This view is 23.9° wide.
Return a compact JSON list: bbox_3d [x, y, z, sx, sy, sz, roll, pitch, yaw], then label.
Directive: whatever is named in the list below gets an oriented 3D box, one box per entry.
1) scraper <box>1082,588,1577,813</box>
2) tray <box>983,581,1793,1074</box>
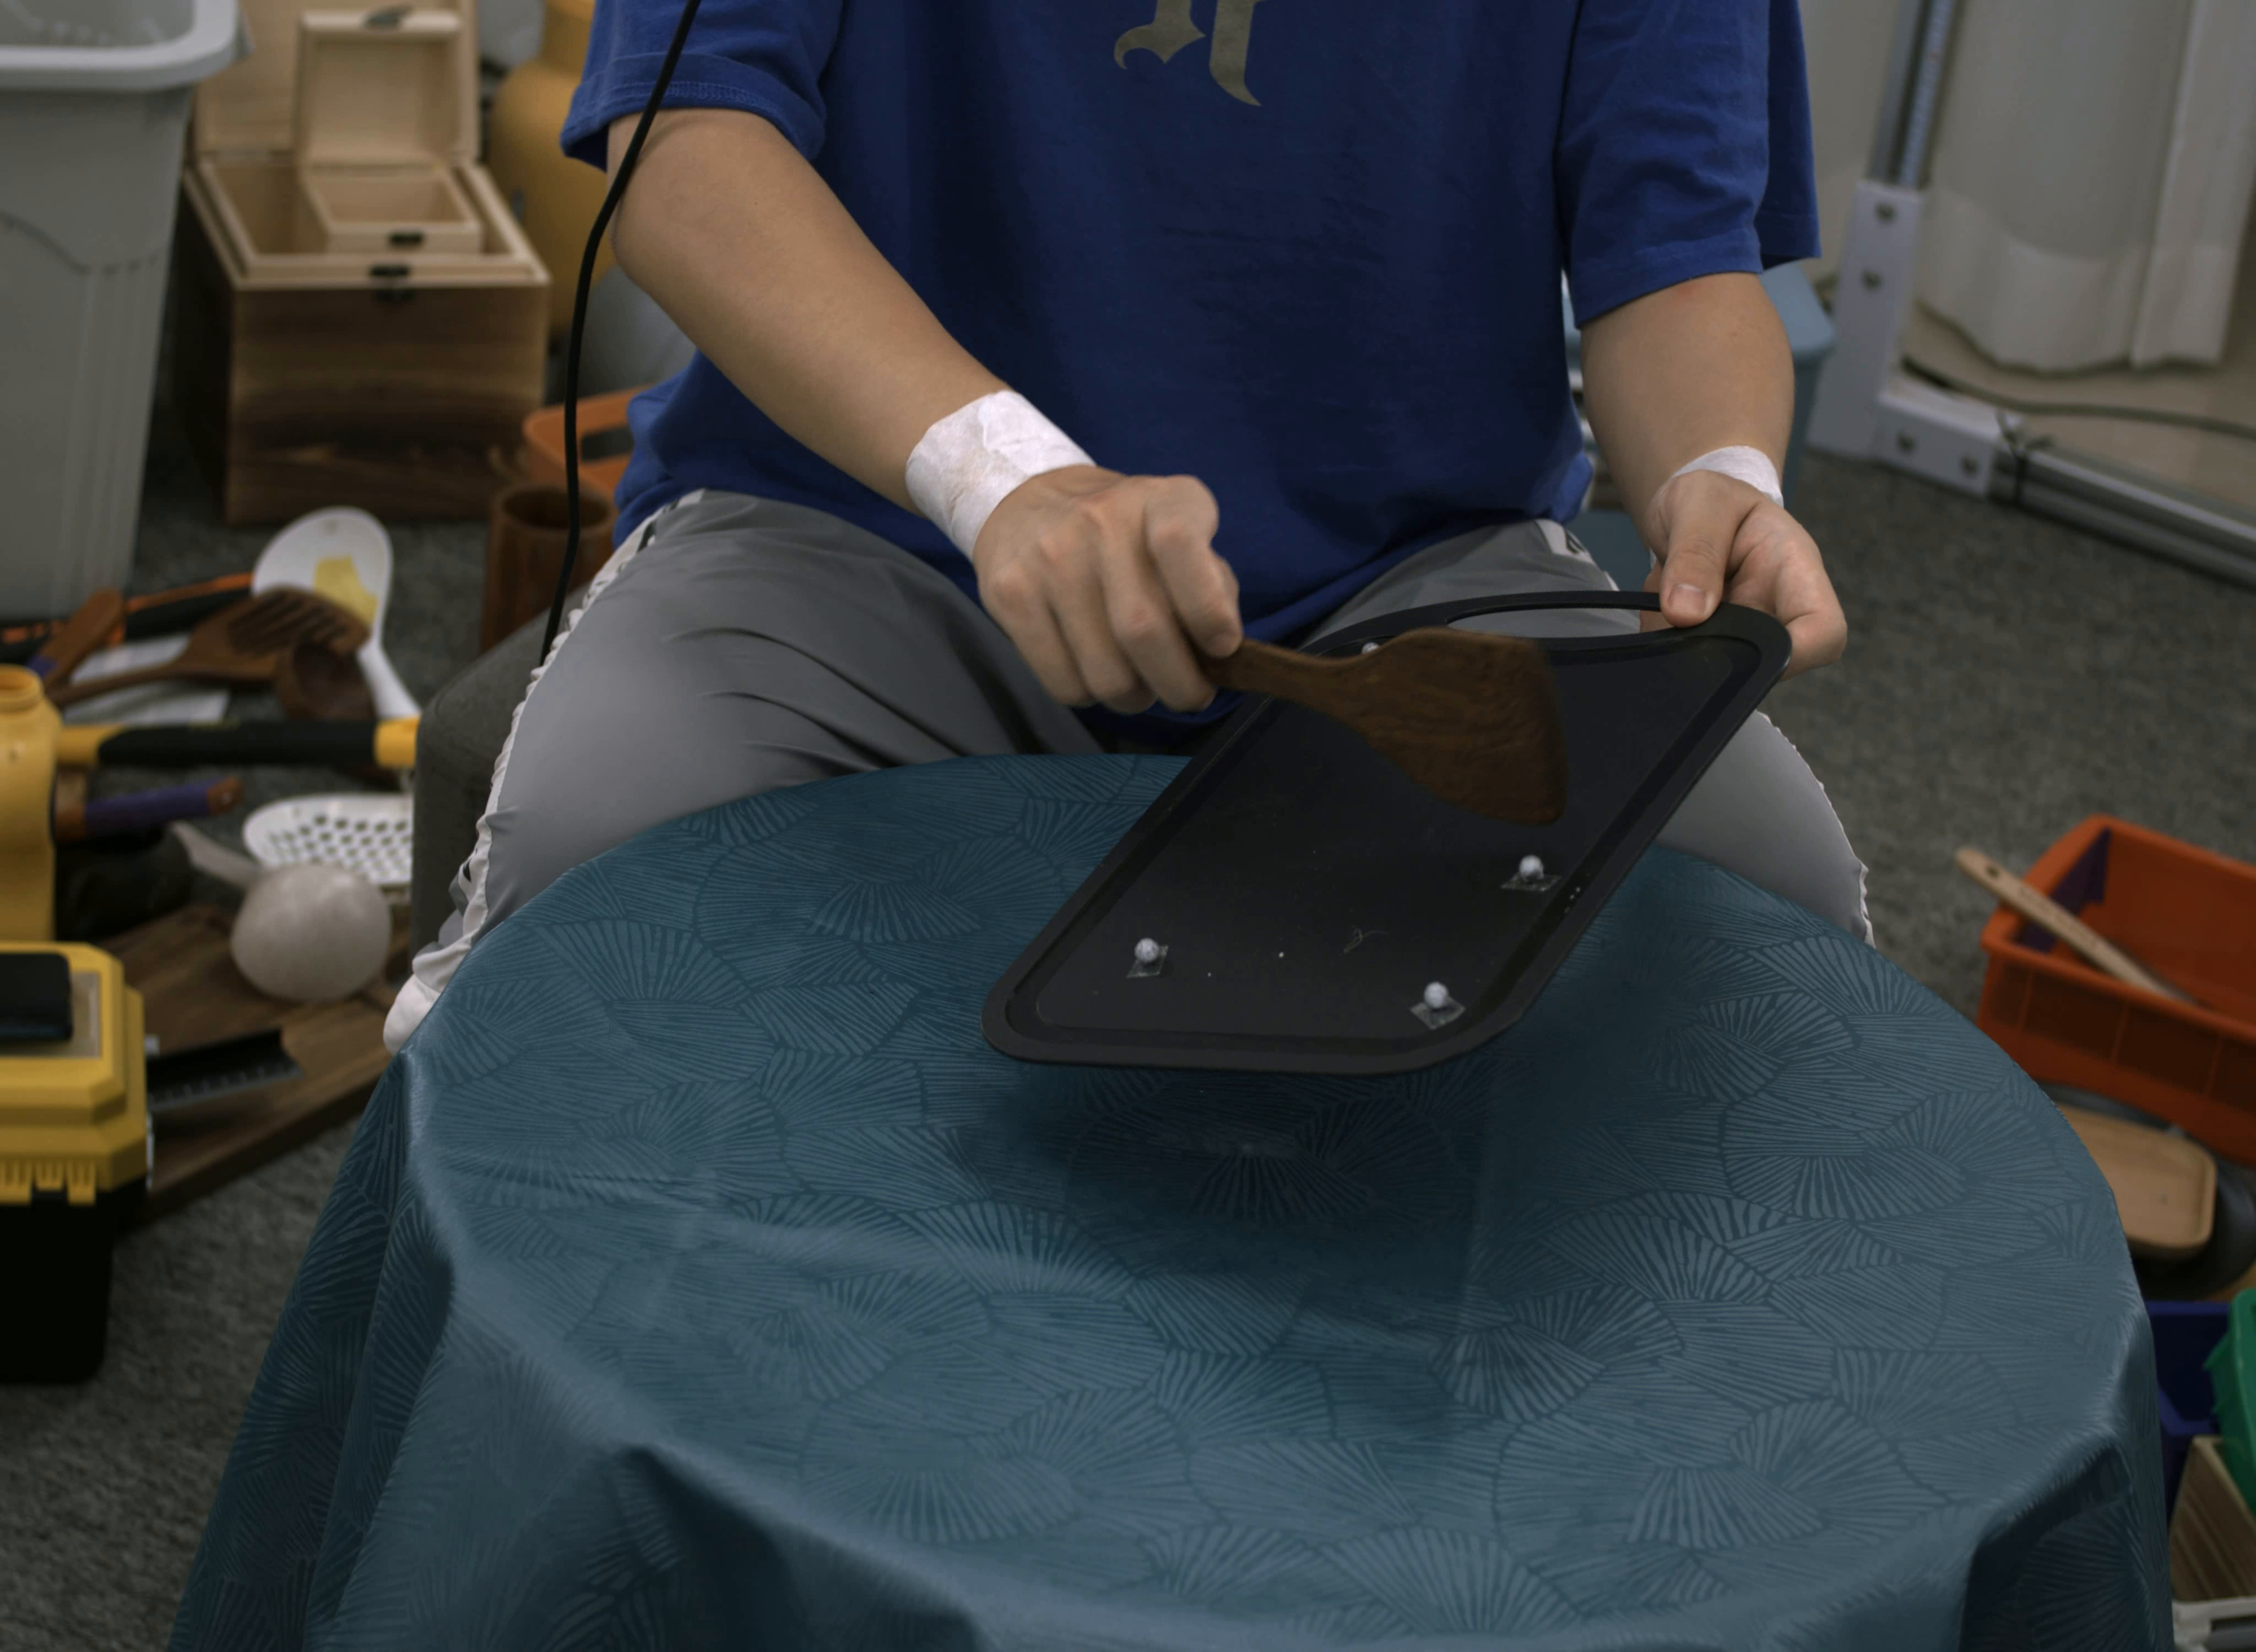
[{"bbox_3d":[0.066,-0.053,1.844,0.212,0.075,0.011,14,38,38],"label":"scraper"},{"bbox_3d":[0.096,-0.007,1.858,0.212,0.010,0.325,1,32,33],"label":"tray"}]
